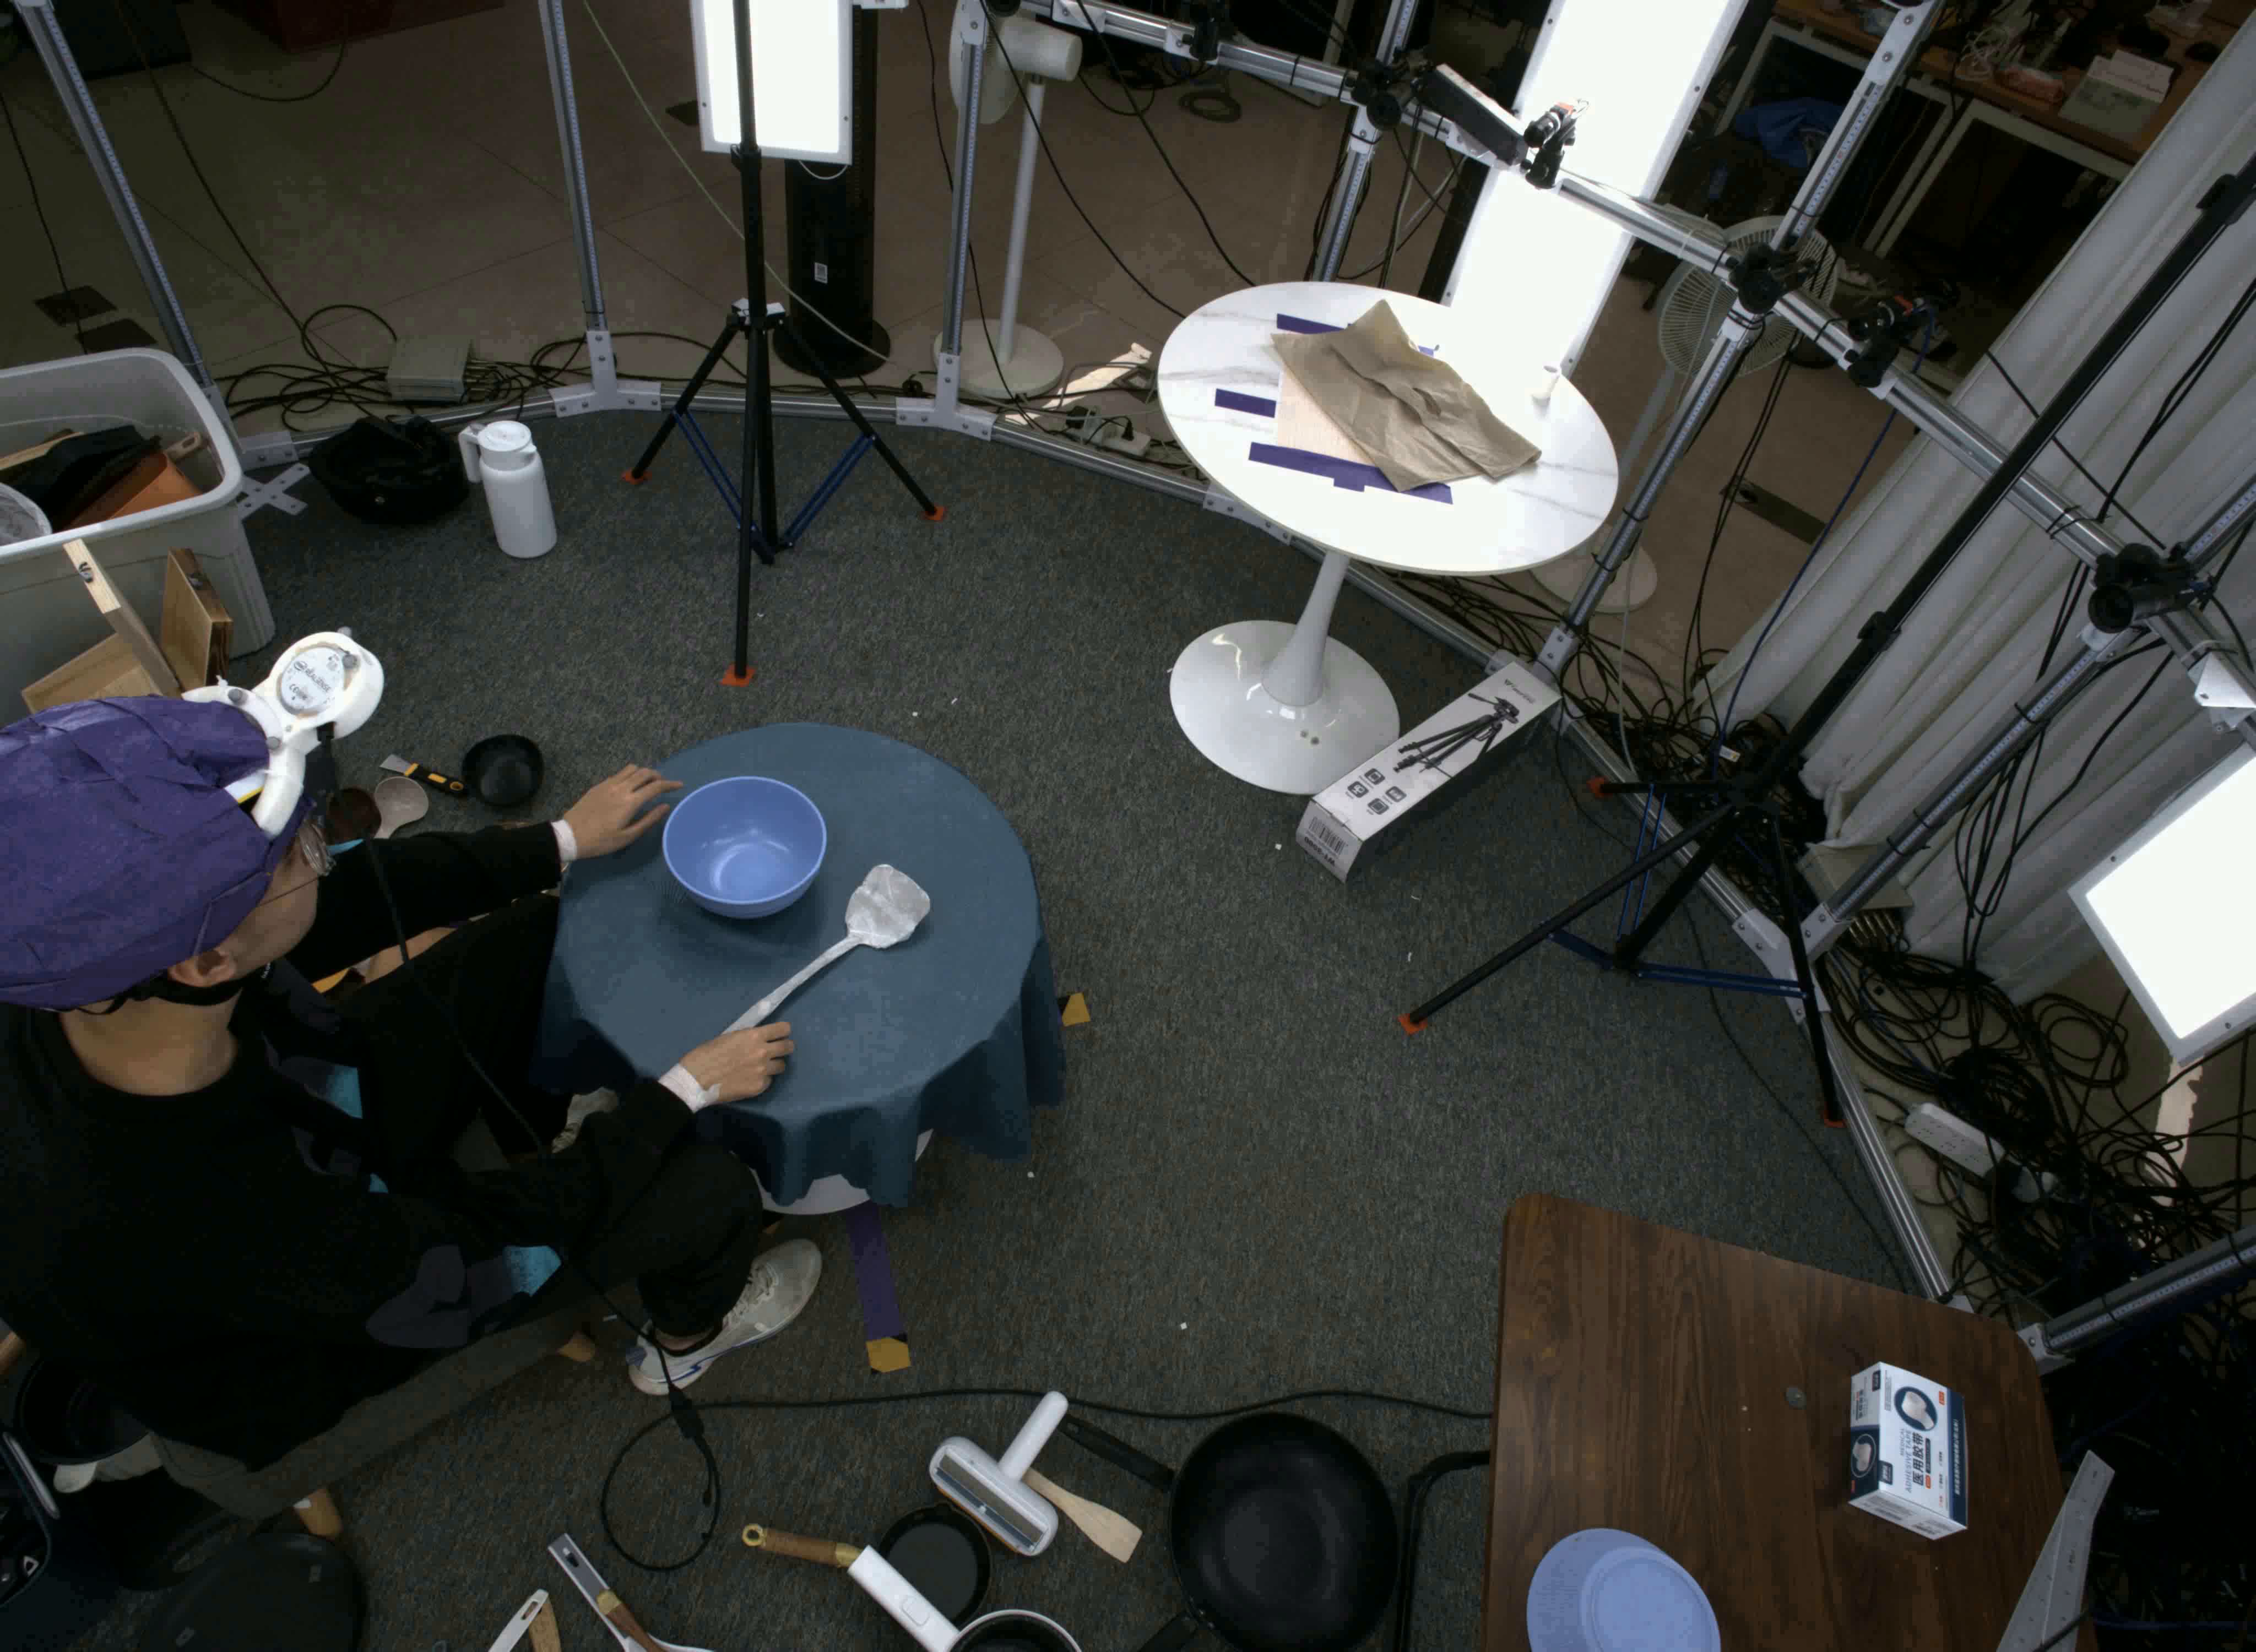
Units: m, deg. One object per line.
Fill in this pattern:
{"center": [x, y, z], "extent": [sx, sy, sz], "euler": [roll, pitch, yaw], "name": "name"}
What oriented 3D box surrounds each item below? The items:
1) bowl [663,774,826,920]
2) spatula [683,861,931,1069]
{"center": [-0.478, 0.041, 1.624], "extent": [0.196, 0.097, 0.193], "euler": [8, 53, -9], "name": "bowl"}
{"center": [-0.394, 0.173, 1.583], "extent": [0.097, 0.045, 0.365], "euler": [40, 54, 14], "name": "spatula"}
